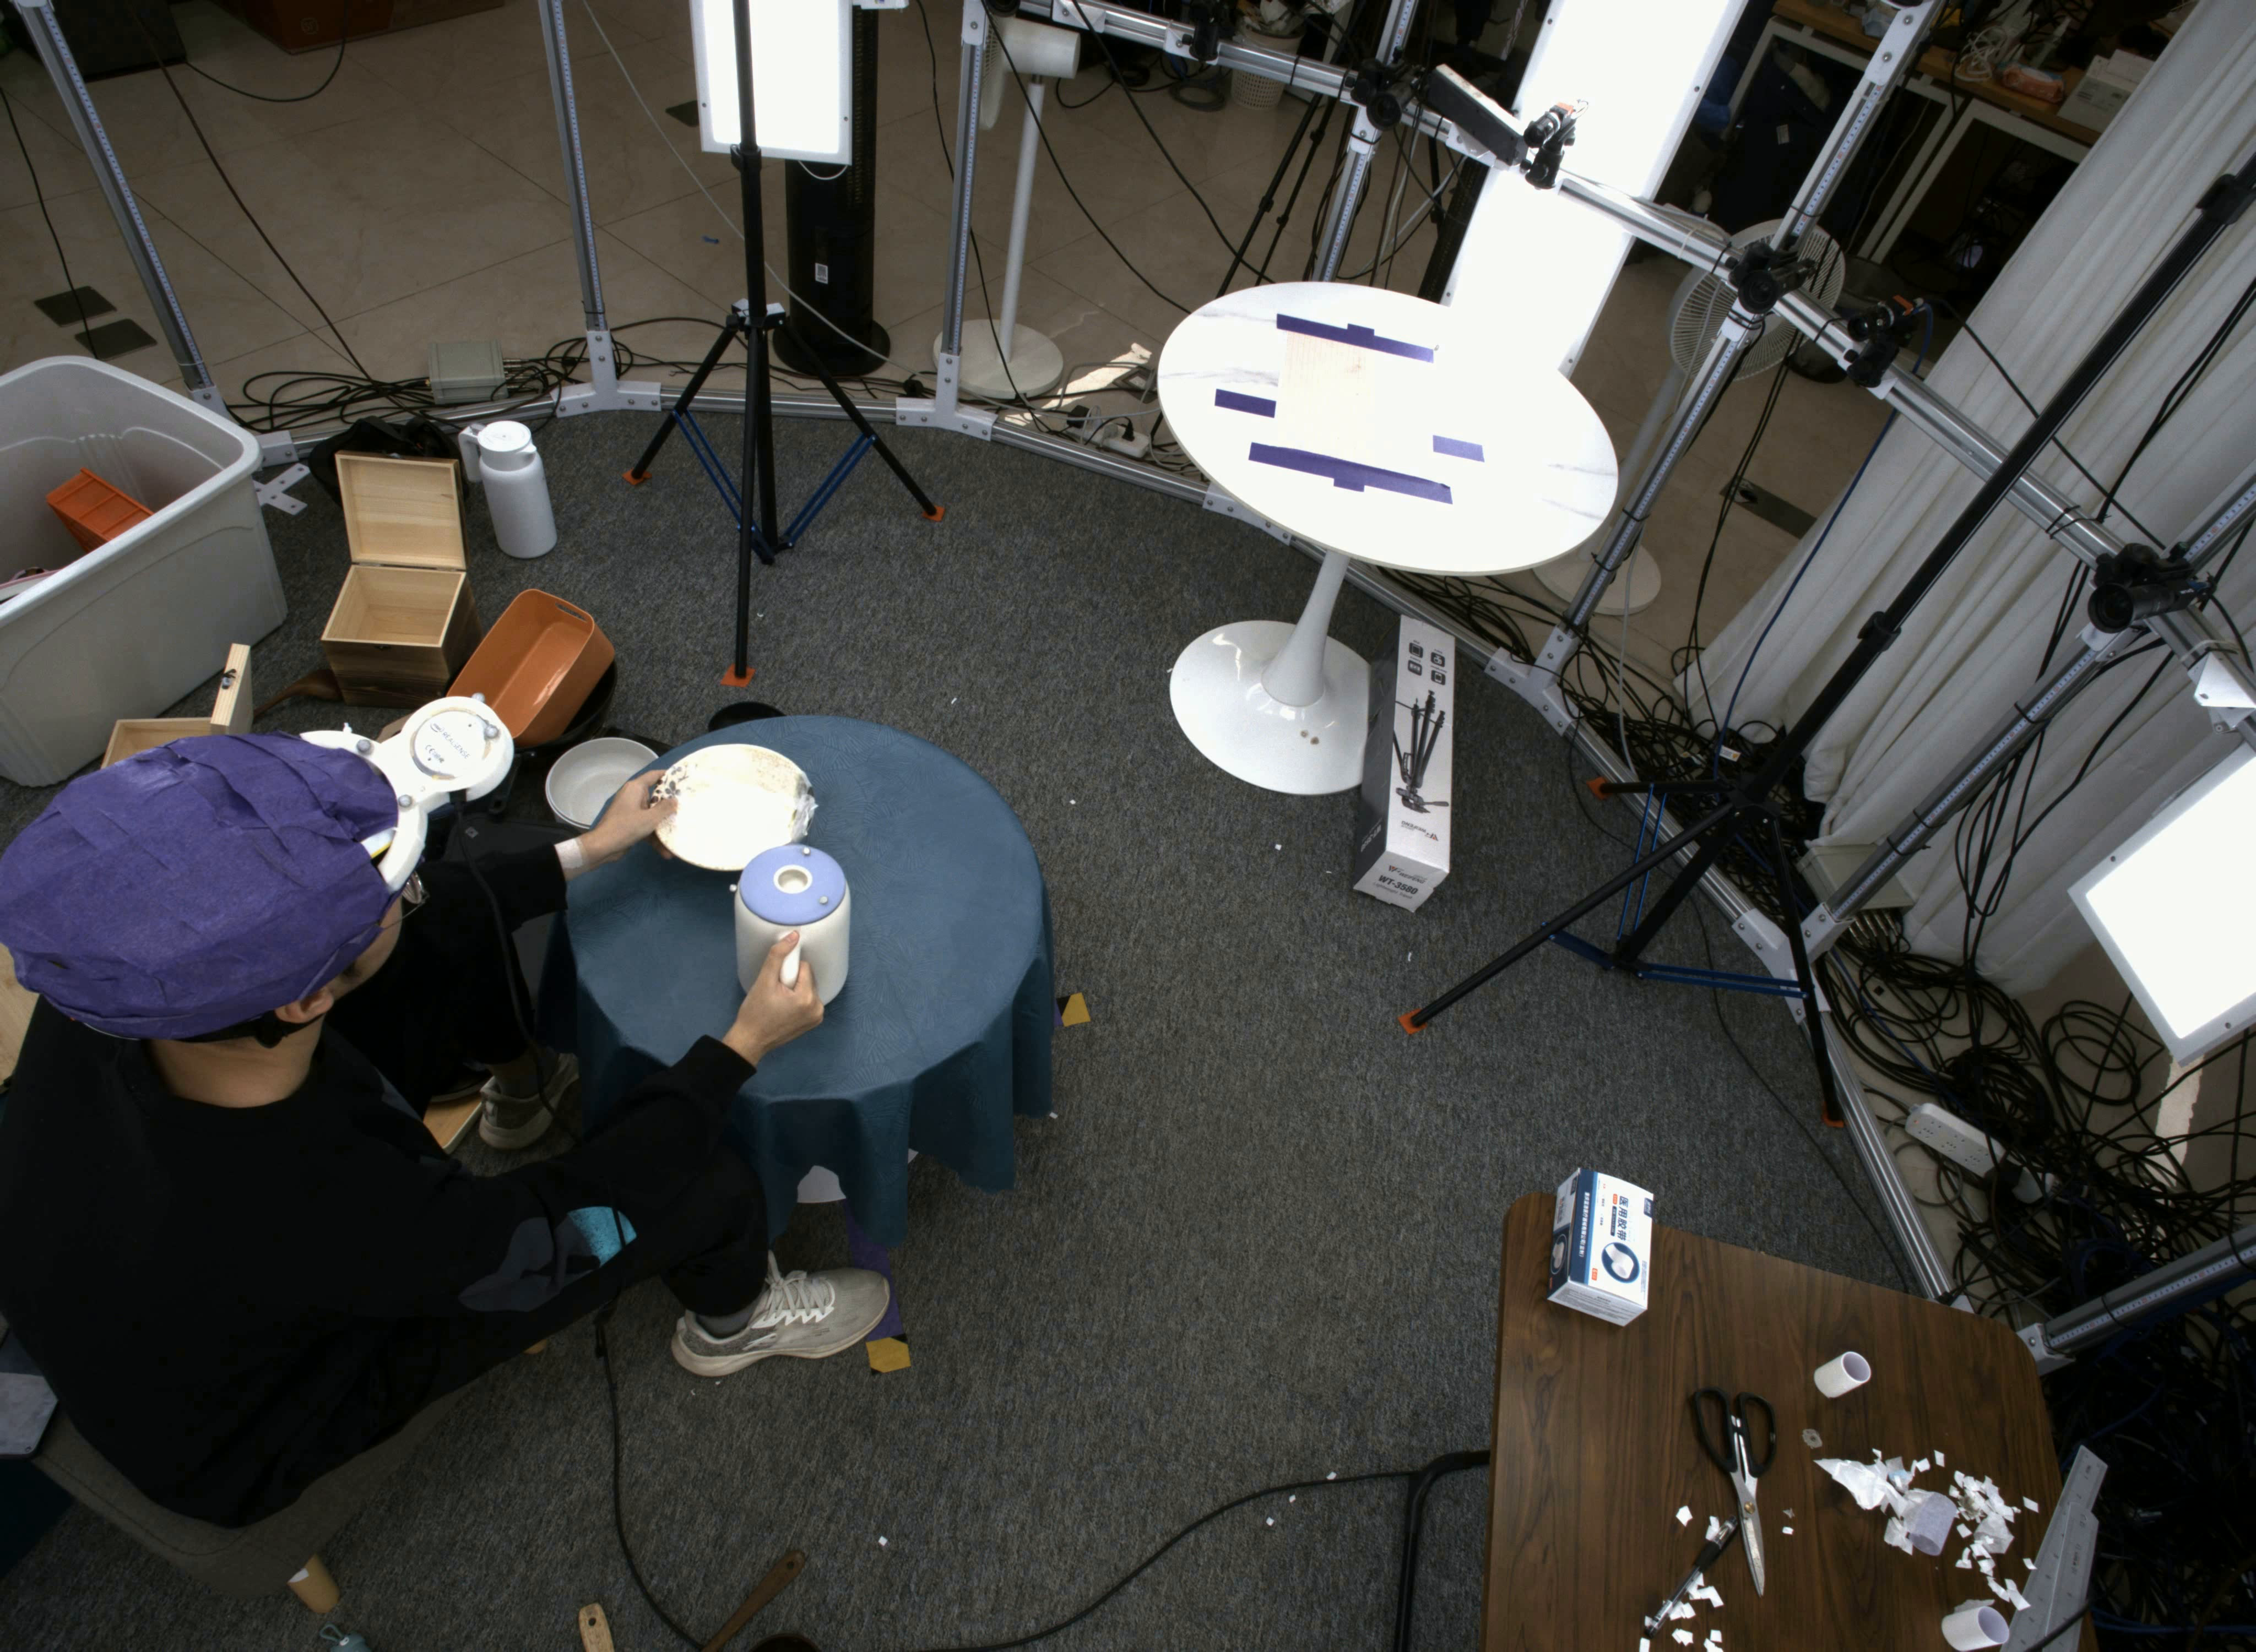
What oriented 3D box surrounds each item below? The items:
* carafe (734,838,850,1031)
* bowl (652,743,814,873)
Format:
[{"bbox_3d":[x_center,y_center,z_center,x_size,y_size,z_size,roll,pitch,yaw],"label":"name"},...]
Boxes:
[{"bbox_3d":[-0.390,0.137,1.510,0.132,0.187,0.186,-1,50,-13],"label":"carafe"},{"bbox_3d":[-0.504,-0.006,1.665,0.203,0.080,0.200,5,55,-5],"label":"bowl"}]
